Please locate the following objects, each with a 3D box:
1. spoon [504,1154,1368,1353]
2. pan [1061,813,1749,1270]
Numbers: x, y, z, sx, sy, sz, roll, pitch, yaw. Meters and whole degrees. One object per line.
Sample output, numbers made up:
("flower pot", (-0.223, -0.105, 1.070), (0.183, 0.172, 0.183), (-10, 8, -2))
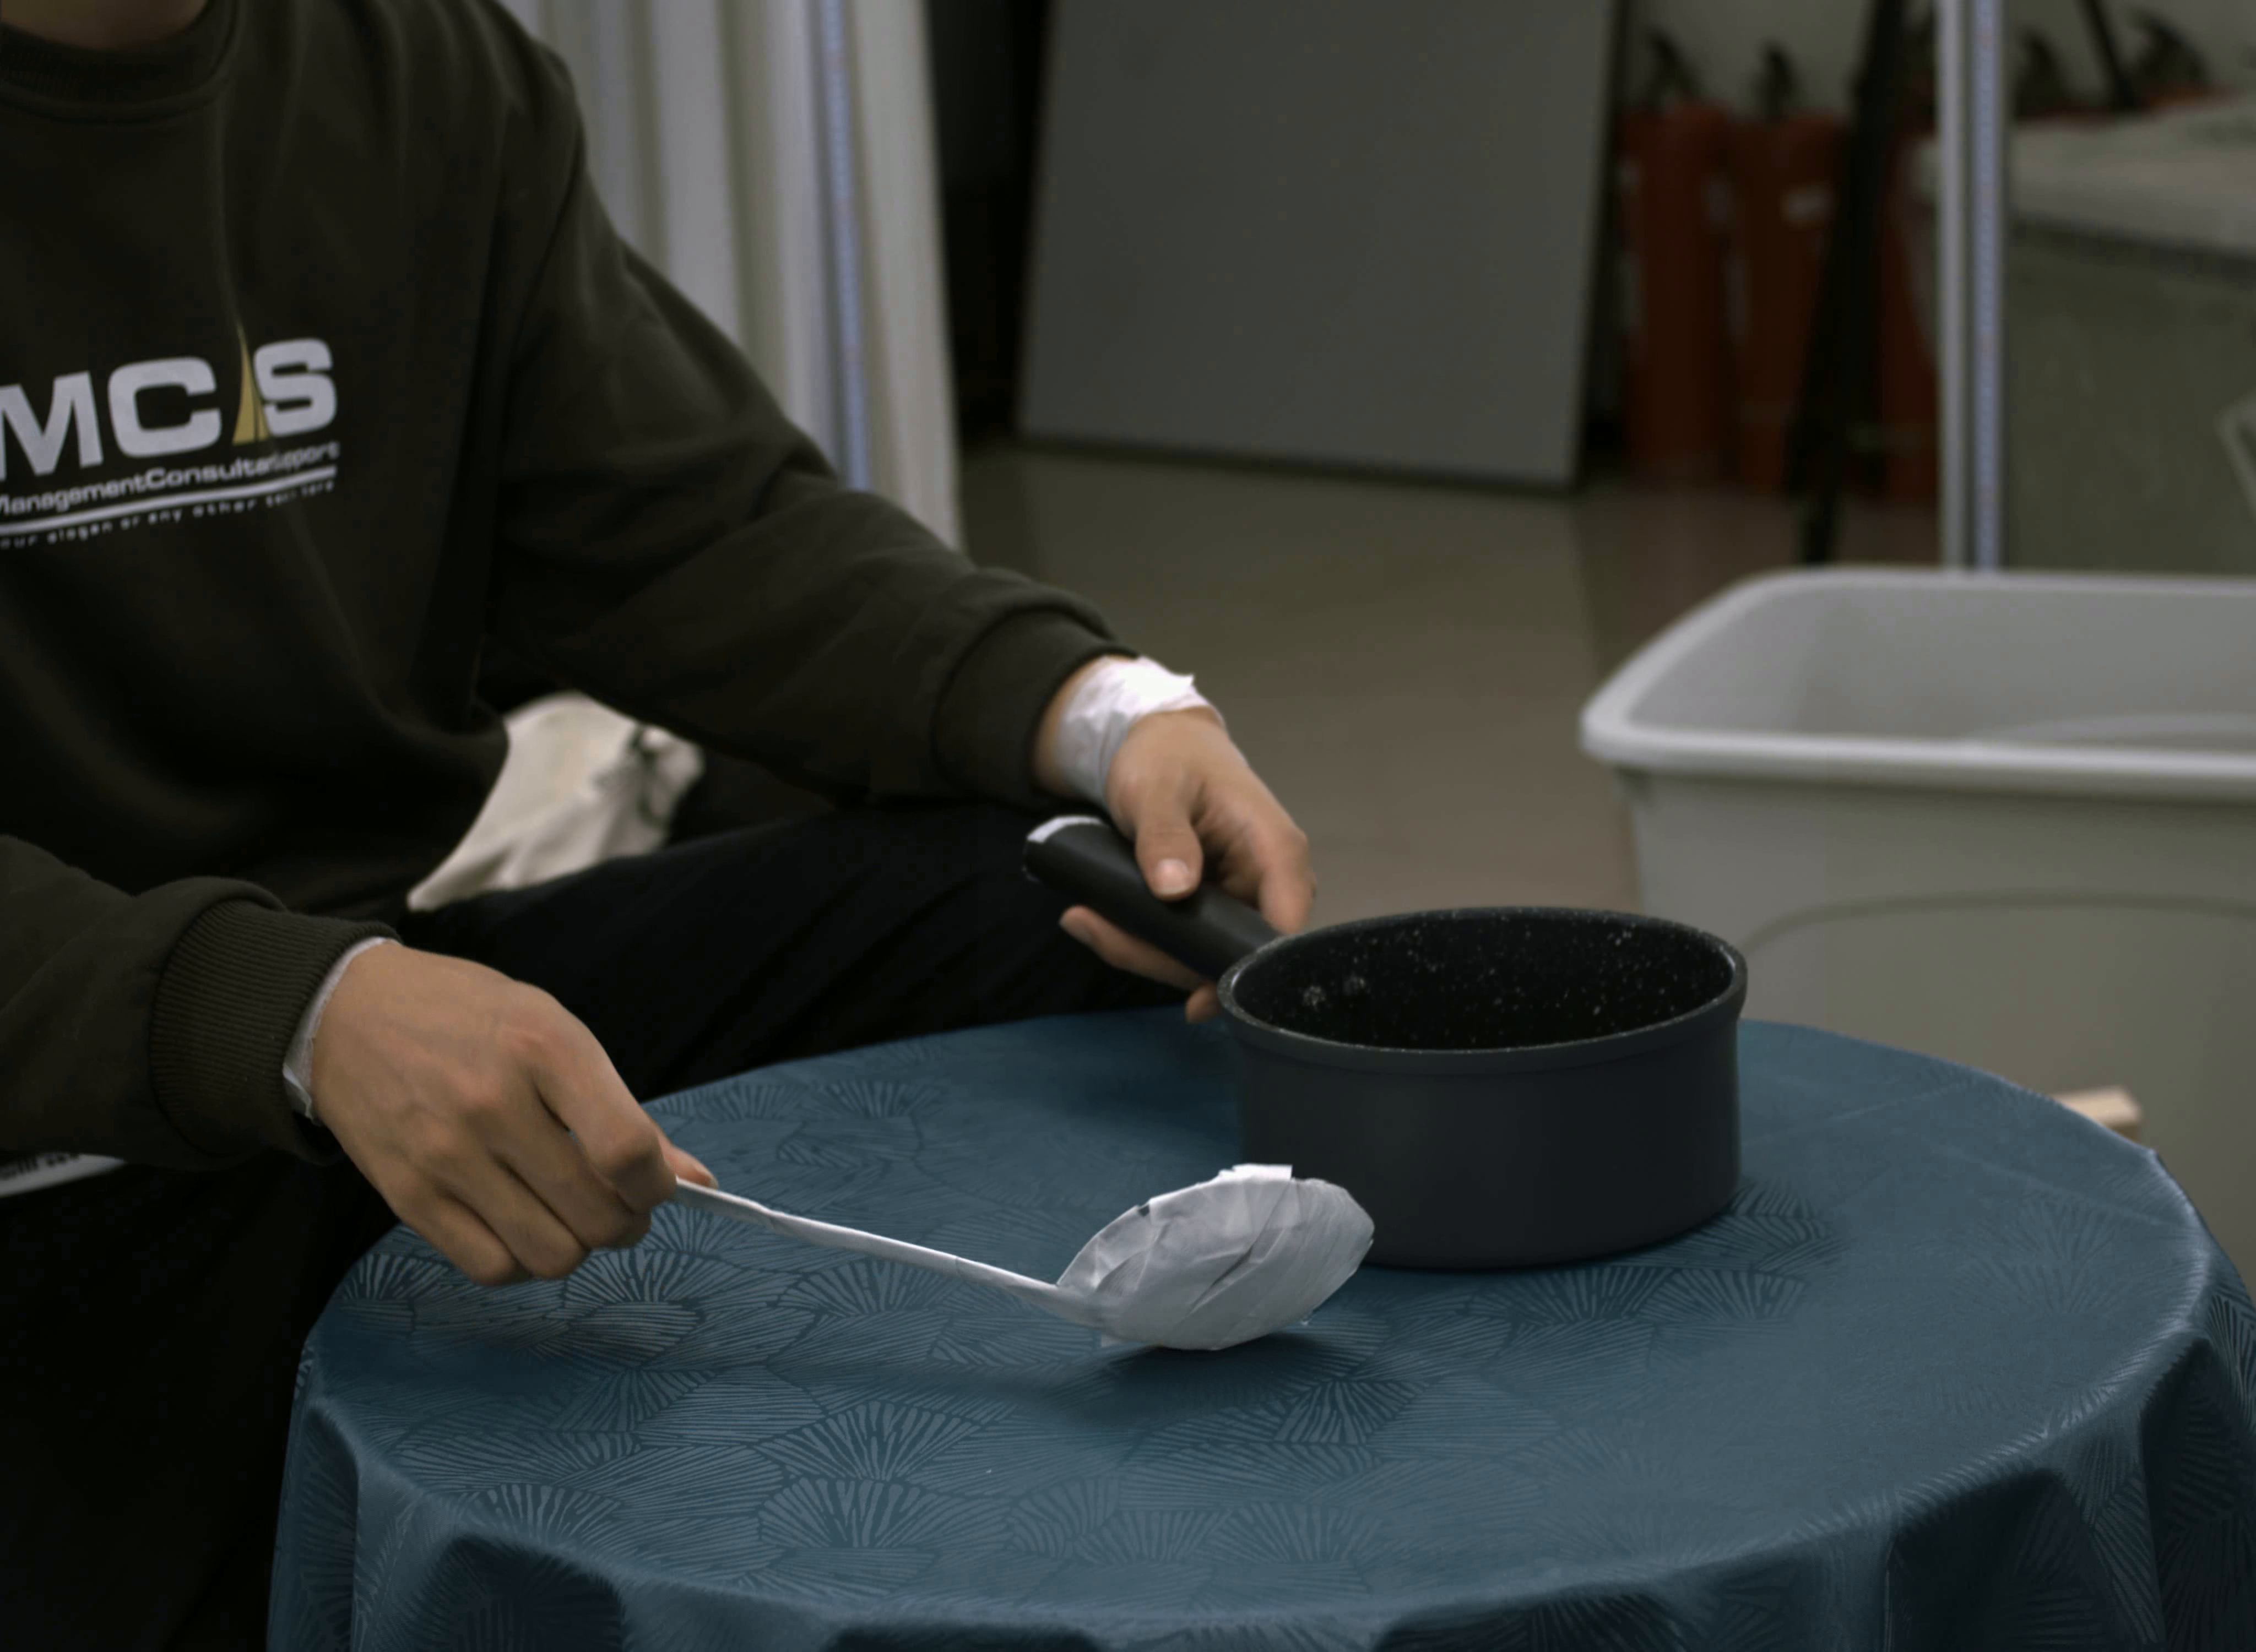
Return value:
("spoon", (-0.060, 0.113, 1.638), (0.278, 0.100, 0.059), (10, 60, 26))
("pan", (0.074, 0.067, 1.799), (0.168, 0.087, 0.332), (-11, 16, -30))
